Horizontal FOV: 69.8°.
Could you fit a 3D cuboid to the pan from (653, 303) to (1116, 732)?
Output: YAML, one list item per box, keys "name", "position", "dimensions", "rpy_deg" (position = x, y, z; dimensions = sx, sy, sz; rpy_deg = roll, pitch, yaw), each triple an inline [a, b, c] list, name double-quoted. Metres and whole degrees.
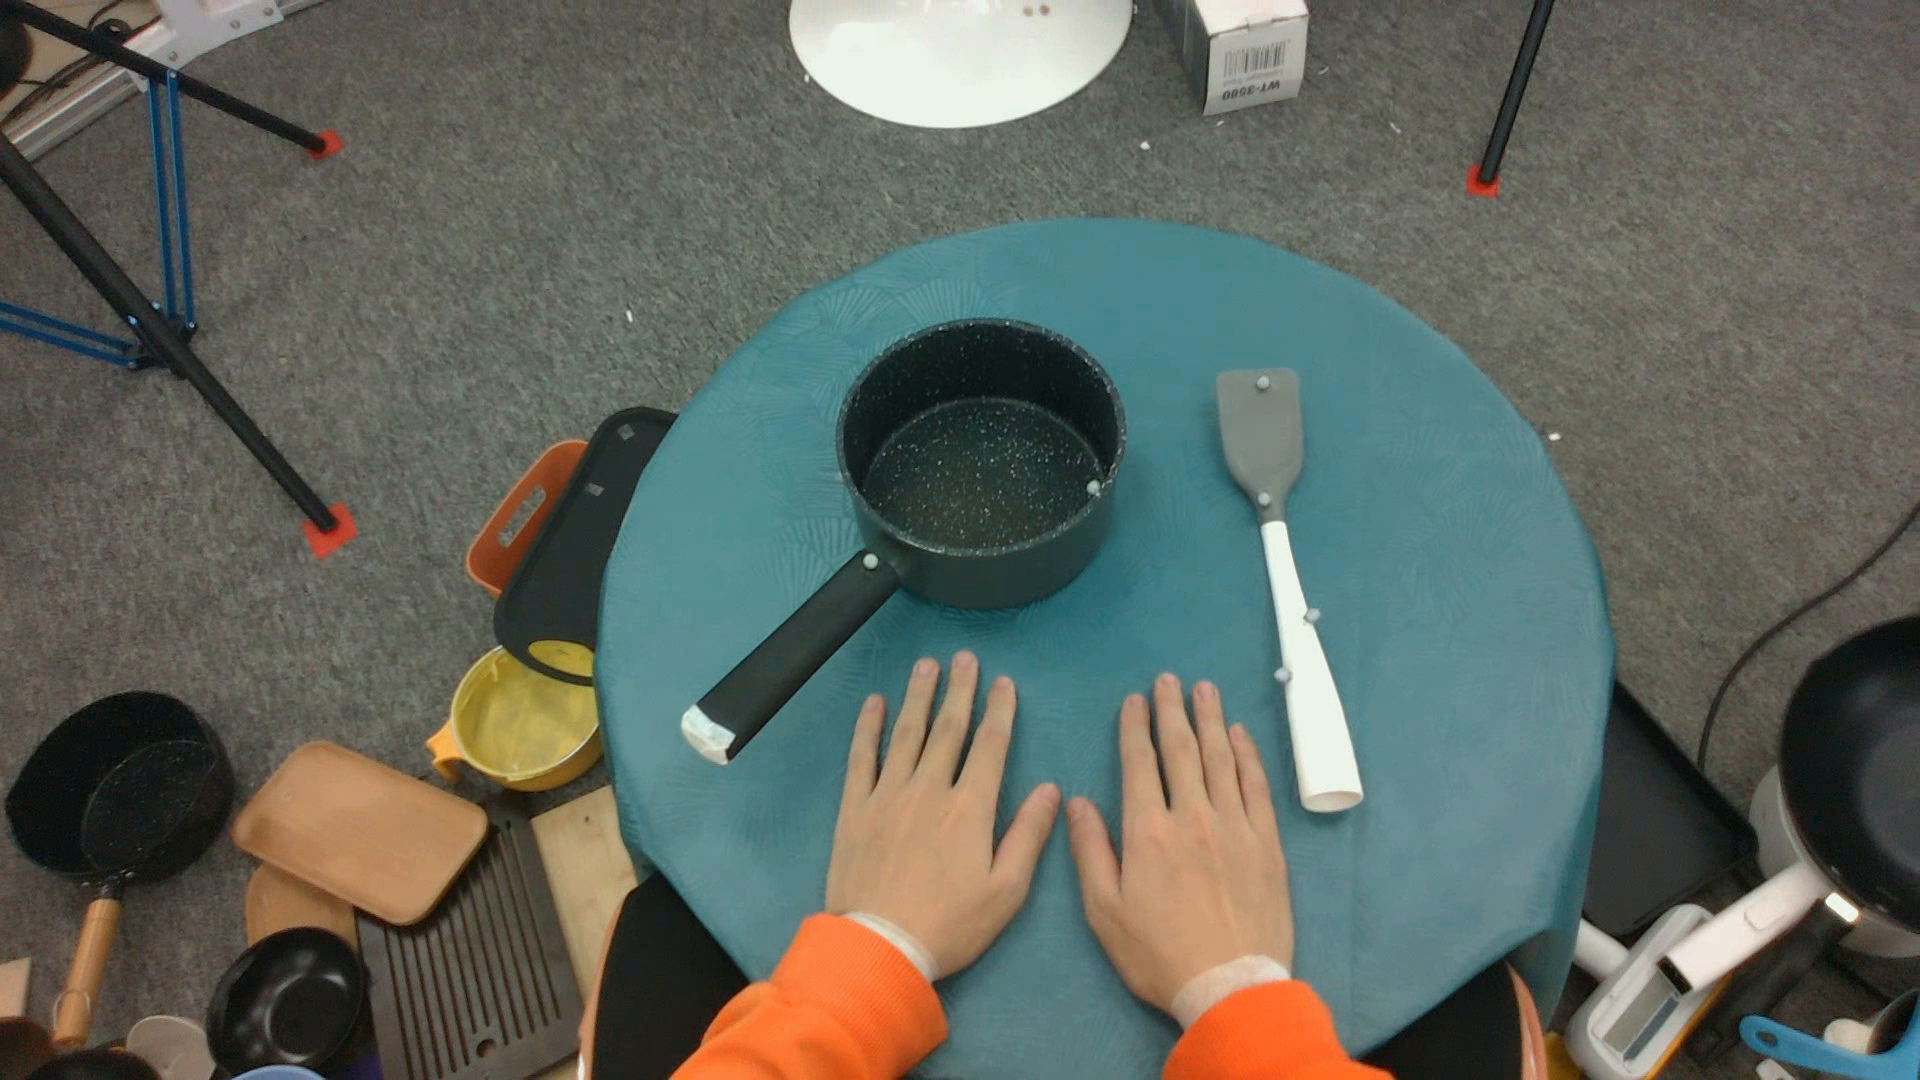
- name: "pan"
  position: [-0.043, -0.001, 0.798]
  dimensions: [0.172, 0.086, 0.330]
  rpy_deg: [33, 63, 22]

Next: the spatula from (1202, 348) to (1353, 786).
- name: "spatula"
  position: [0.188, 0.005, 0.815]
  dimensions: [0.058, 0.032, 0.289]
  rpy_deg: [-6, 58, 4]
